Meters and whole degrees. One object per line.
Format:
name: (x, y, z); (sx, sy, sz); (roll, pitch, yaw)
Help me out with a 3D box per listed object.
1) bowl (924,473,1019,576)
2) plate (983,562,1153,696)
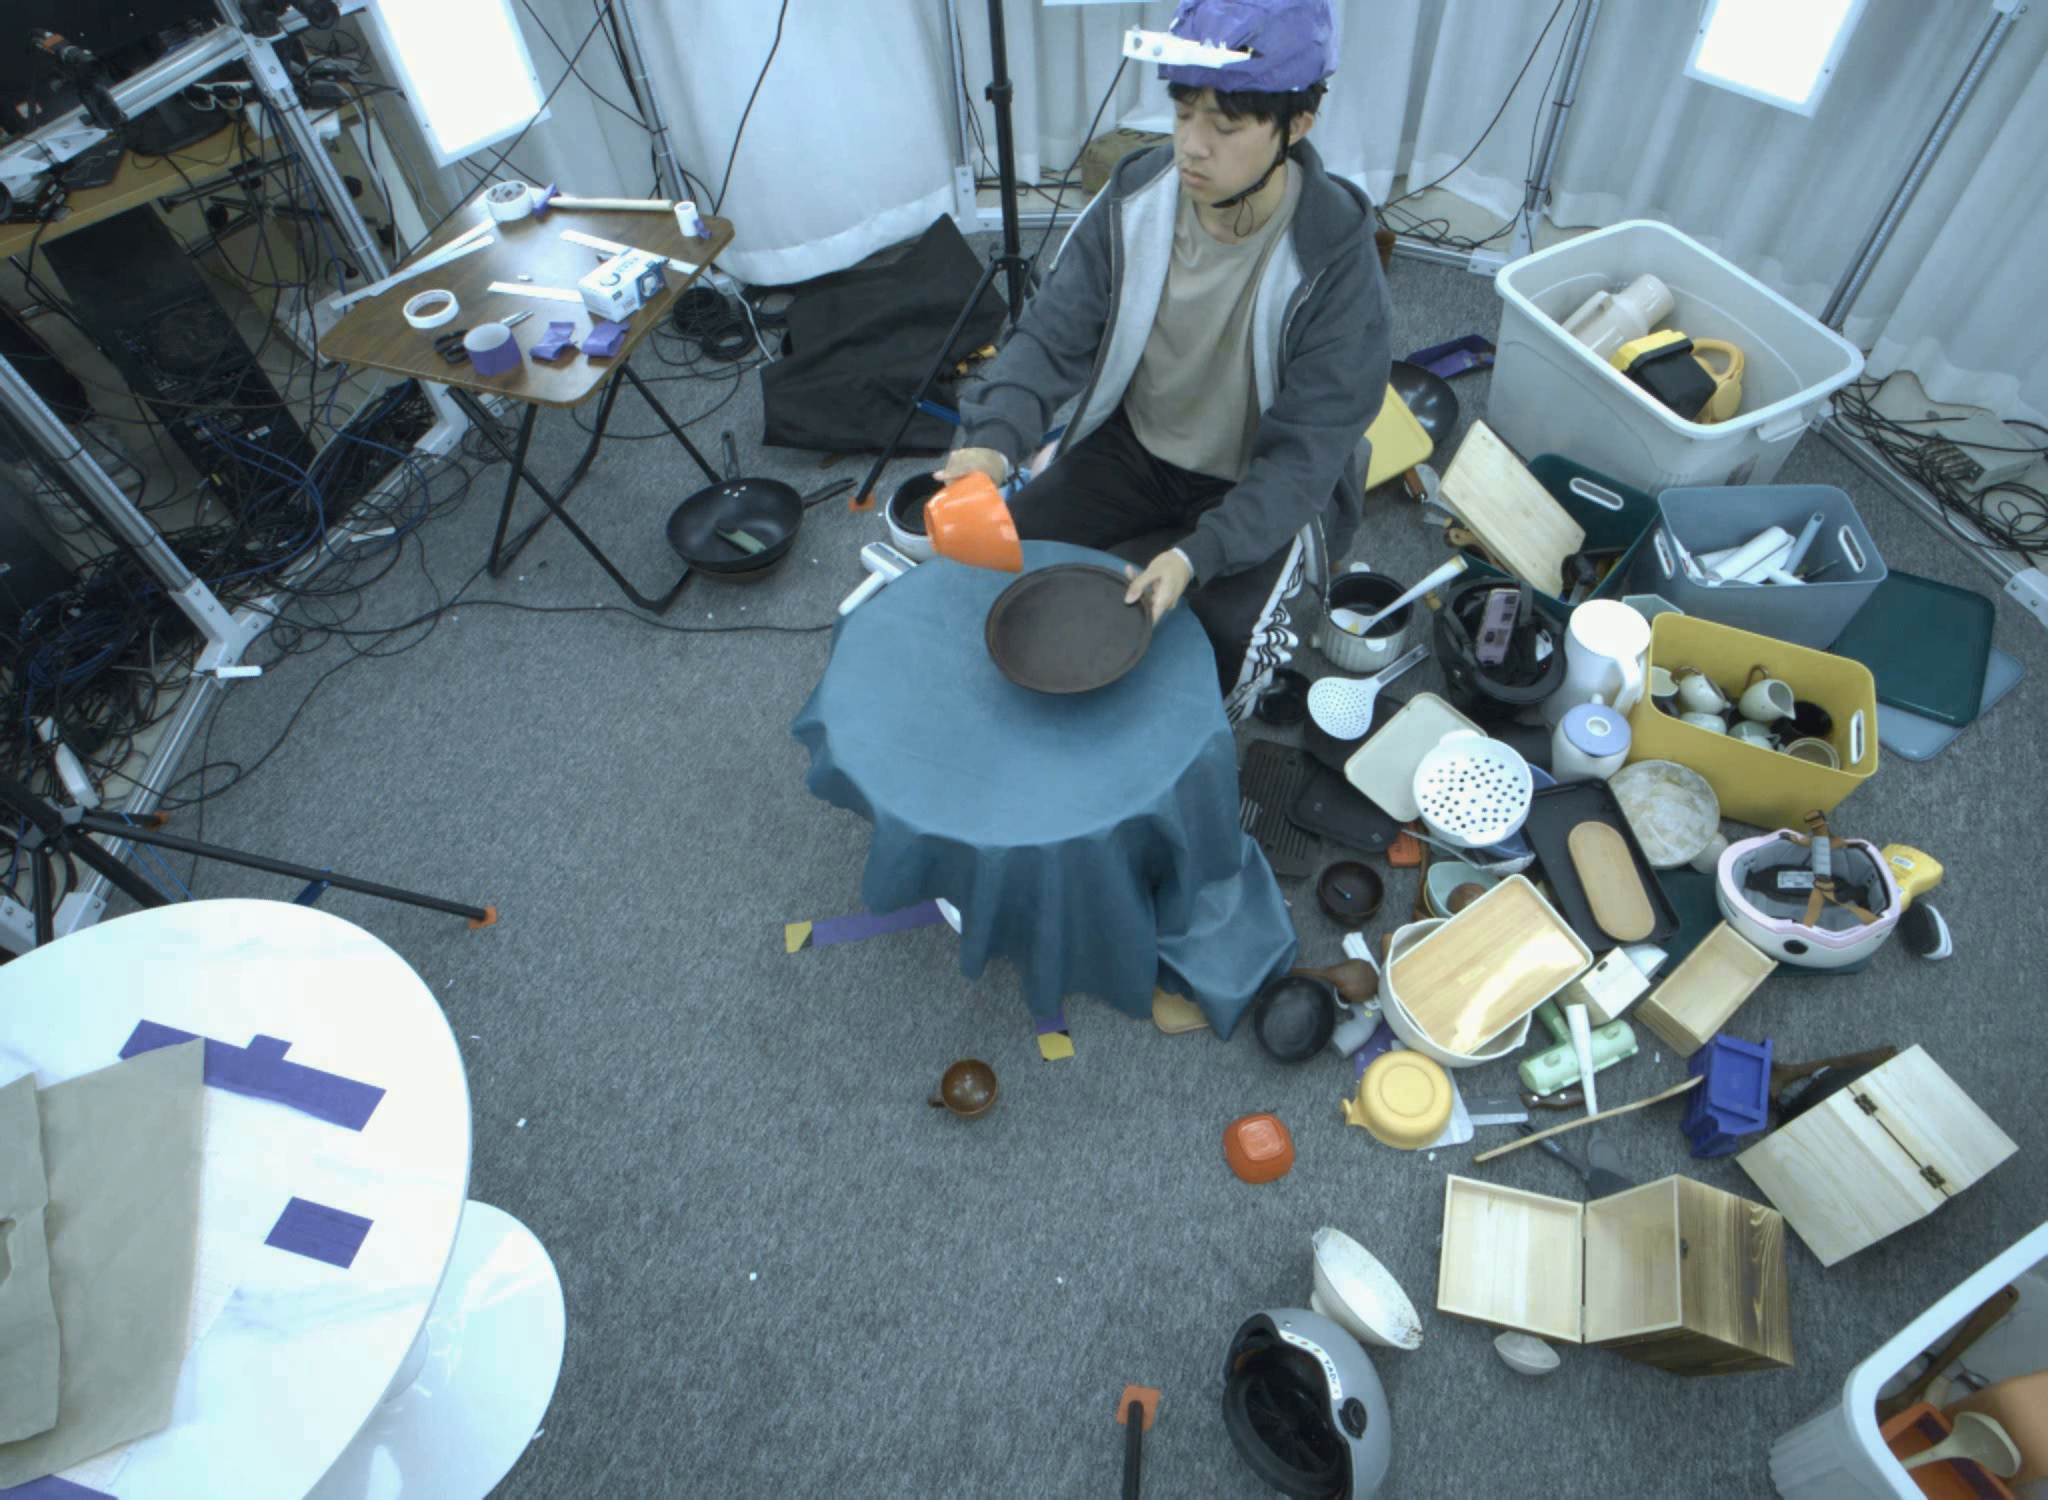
bowl: (-0.078, -0.299, 1.662); (0.105, 0.149, 0.145); (-15, 56, -11)
plate: (0.065, -0.181, 1.831); (0.254, 0.029, 0.252); (-3, 55, 5)
